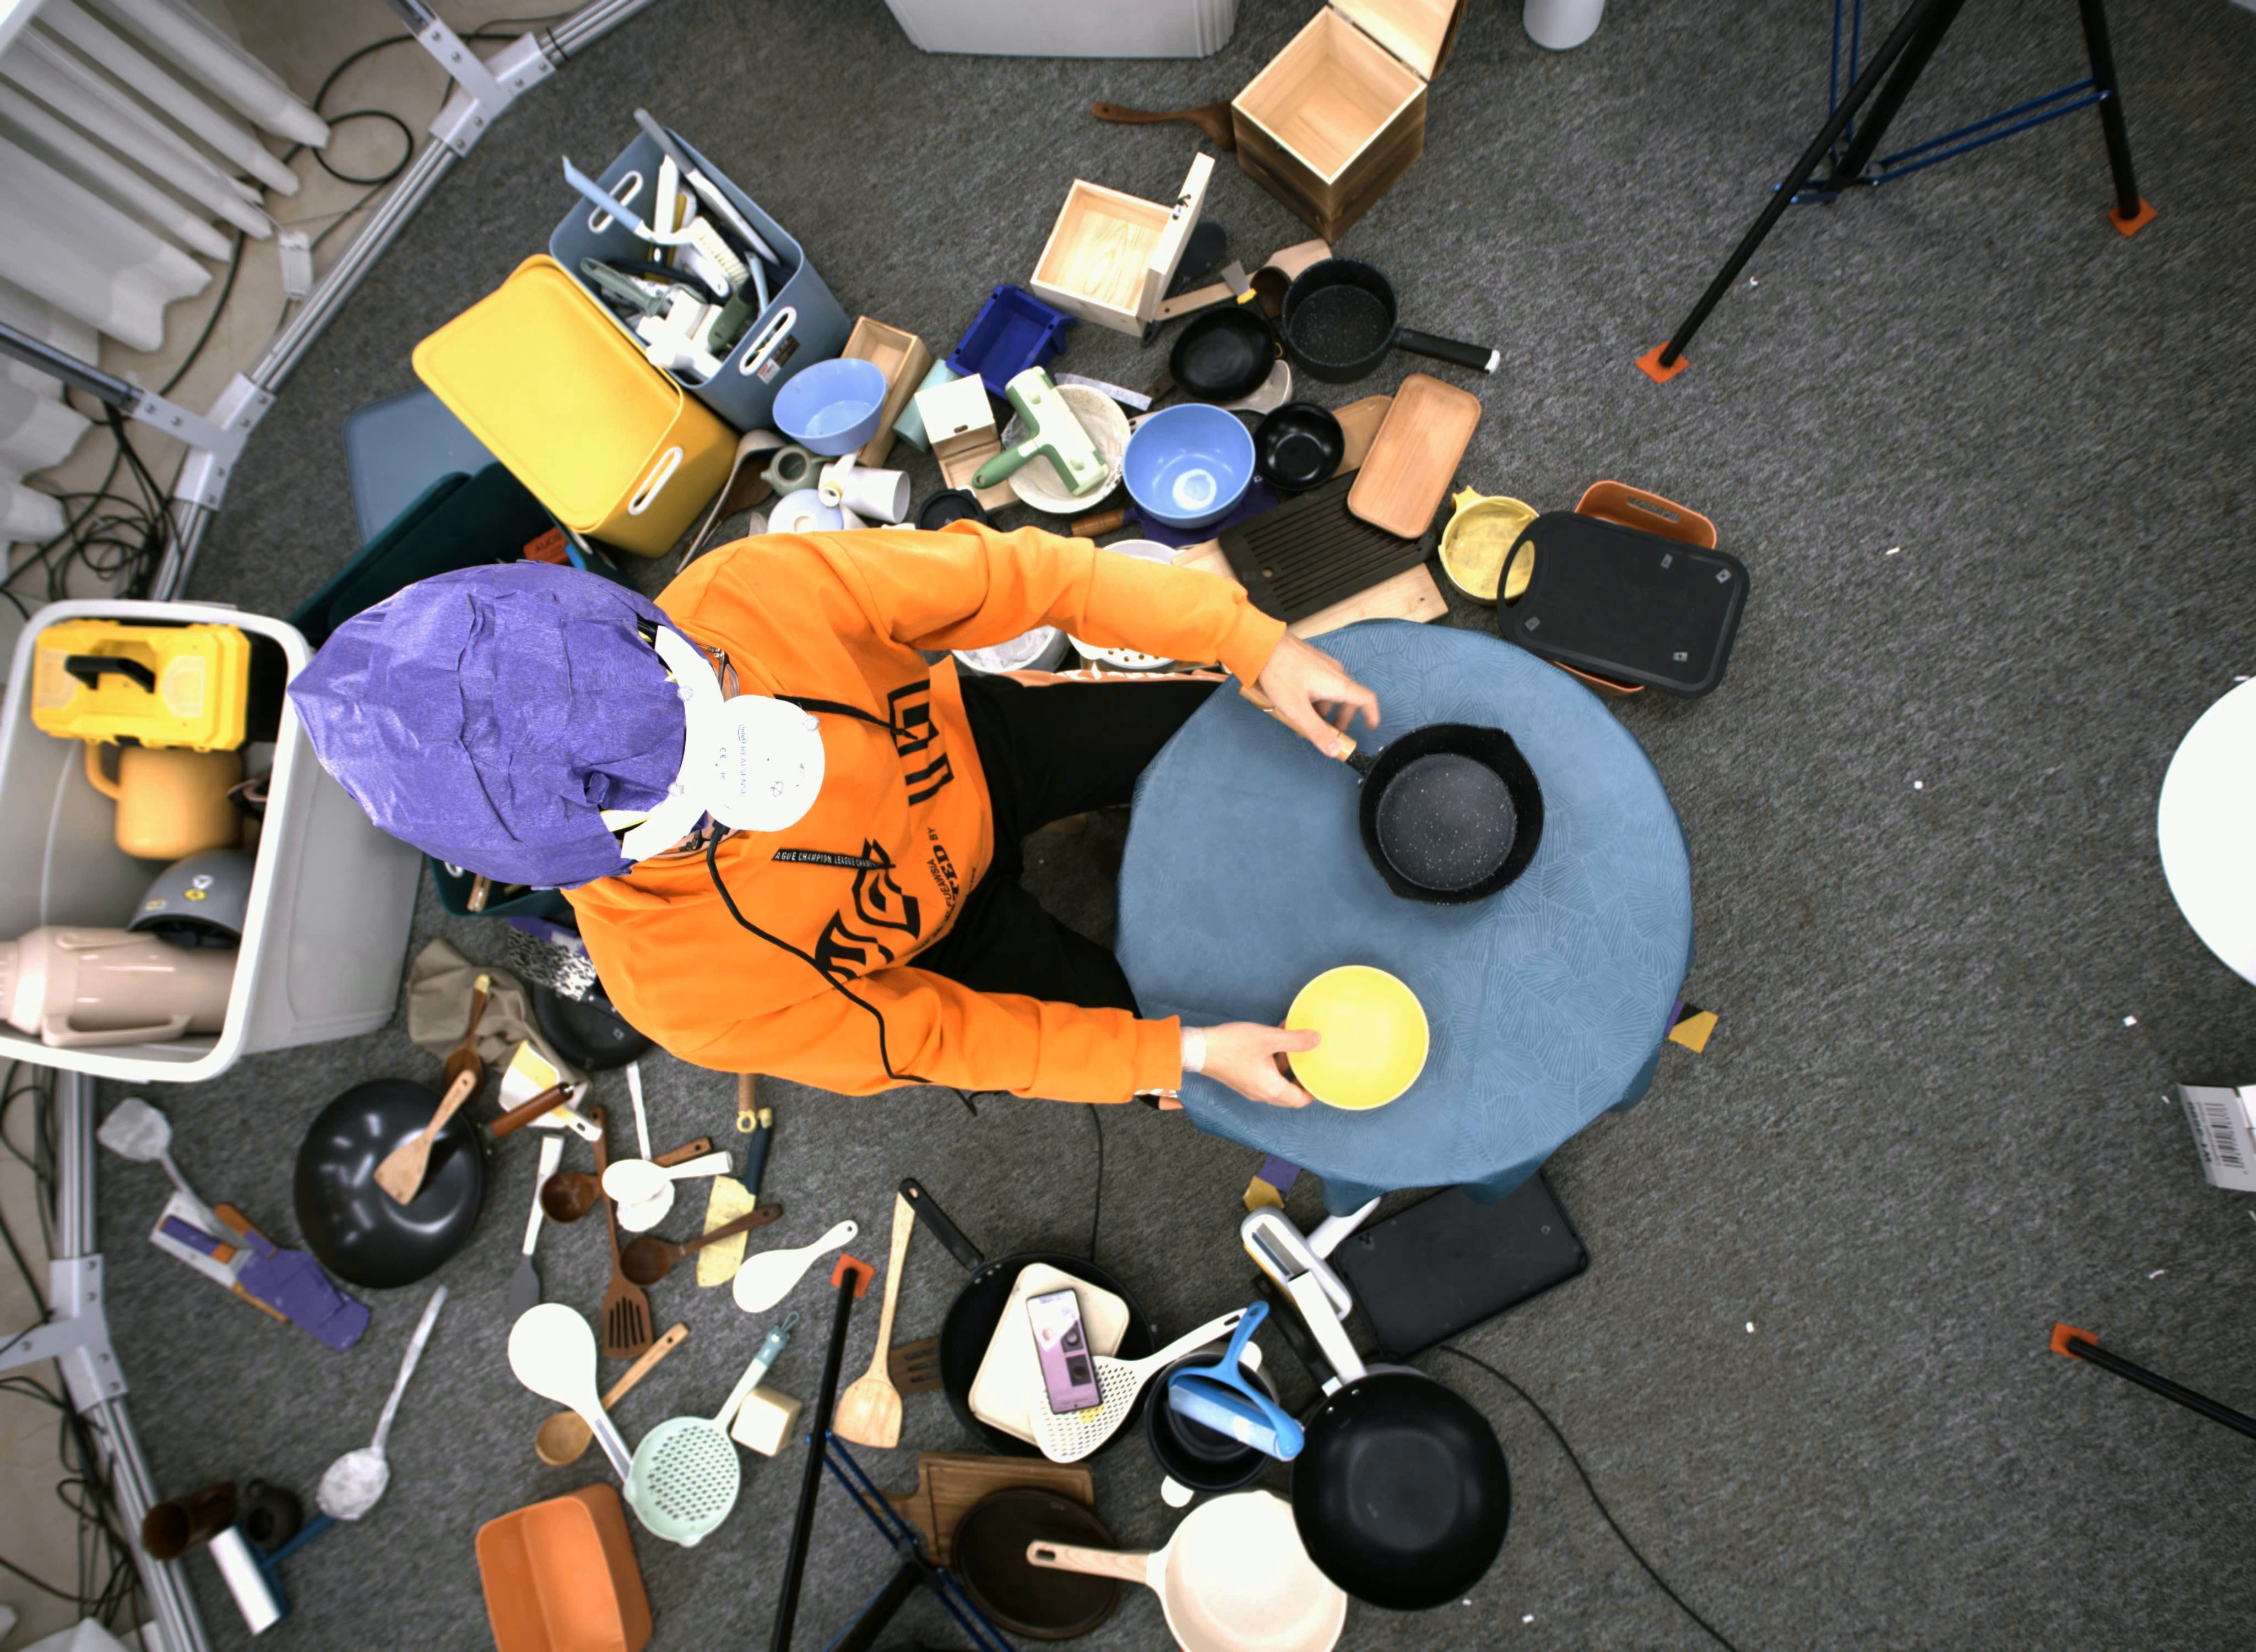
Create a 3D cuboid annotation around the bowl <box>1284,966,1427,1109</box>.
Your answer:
[{"bbox_3d":[0.234,0.216,1.429,0.146,0.060,0.144,-1,85,10],"label":"bowl"}]

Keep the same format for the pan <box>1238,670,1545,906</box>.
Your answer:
[{"bbox_3d":[0.260,-0.053,1.414,0.342,0.108,0.208,32,94,9],"label":"pan"}]
